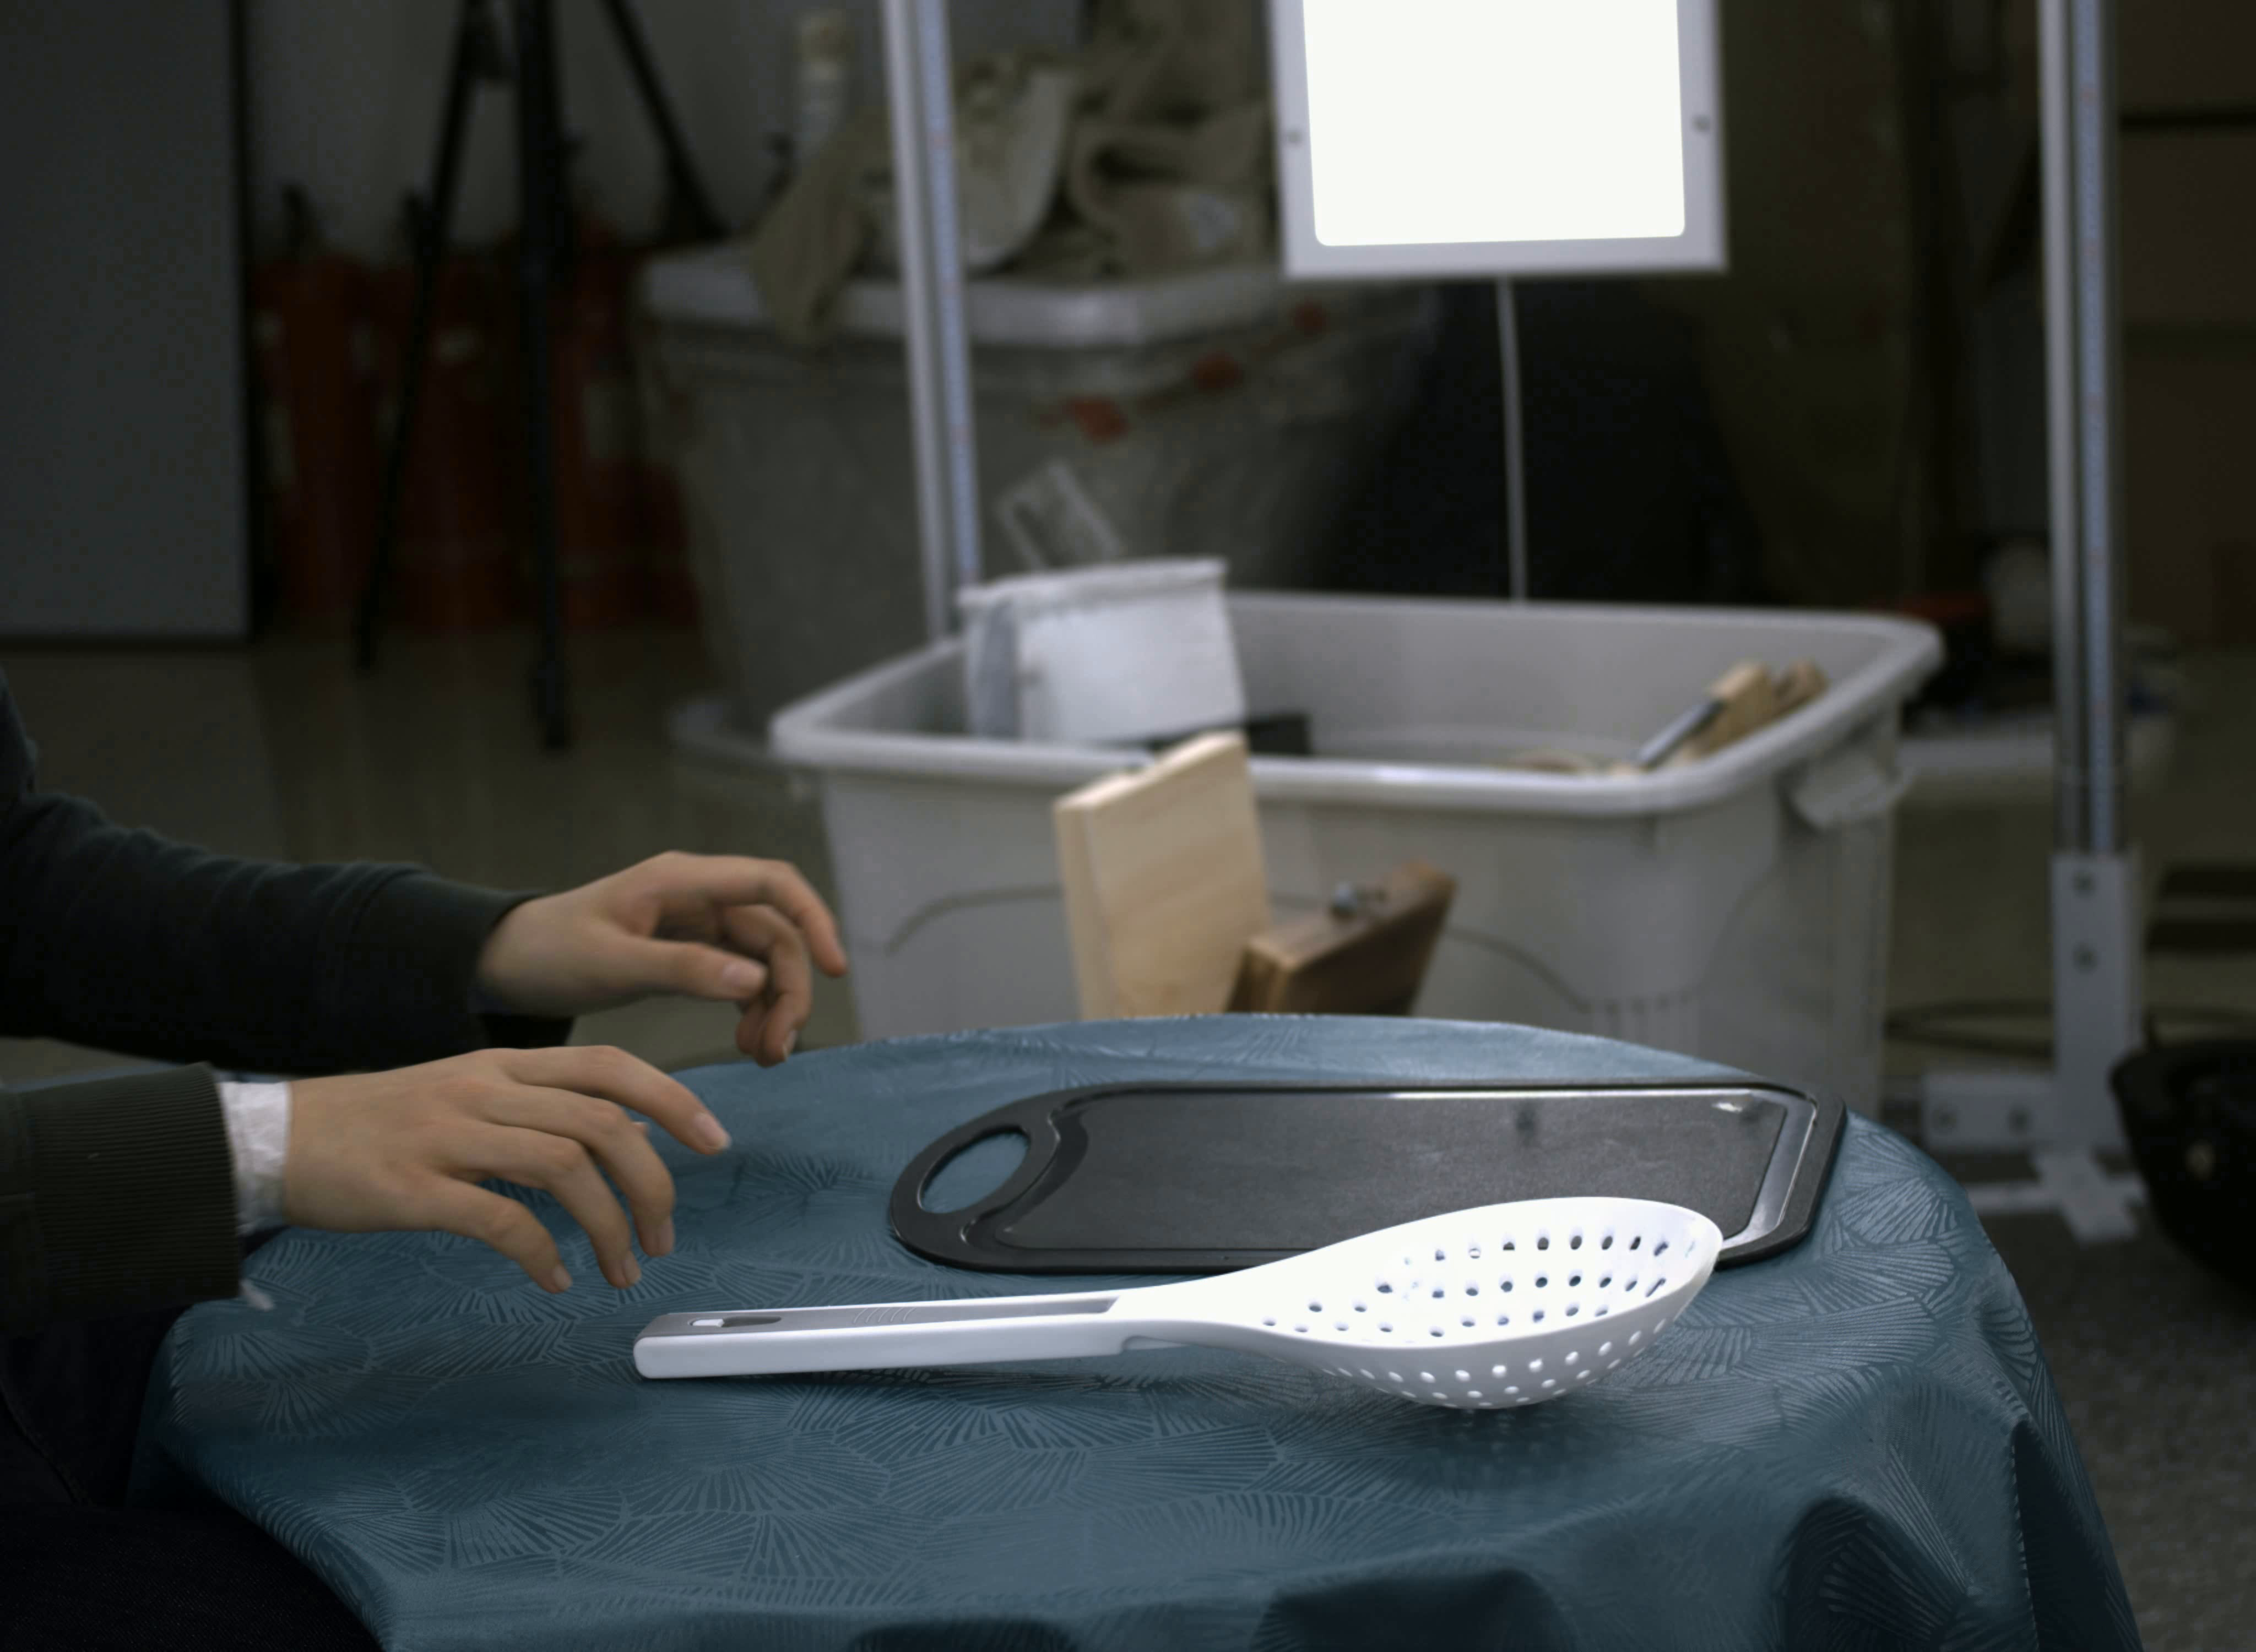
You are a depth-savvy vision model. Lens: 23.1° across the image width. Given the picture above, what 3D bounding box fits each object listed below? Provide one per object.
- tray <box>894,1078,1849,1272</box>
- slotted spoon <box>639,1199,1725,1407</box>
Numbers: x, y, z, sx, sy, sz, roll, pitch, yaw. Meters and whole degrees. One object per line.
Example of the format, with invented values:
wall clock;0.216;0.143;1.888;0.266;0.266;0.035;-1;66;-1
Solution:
tray;0.081;0.117;1.892;0.328;0.010;0.208;-1;14;15
slotted spoon;0.012;0.151;1.698;0.354;0.046;0.134;-1;13;19
